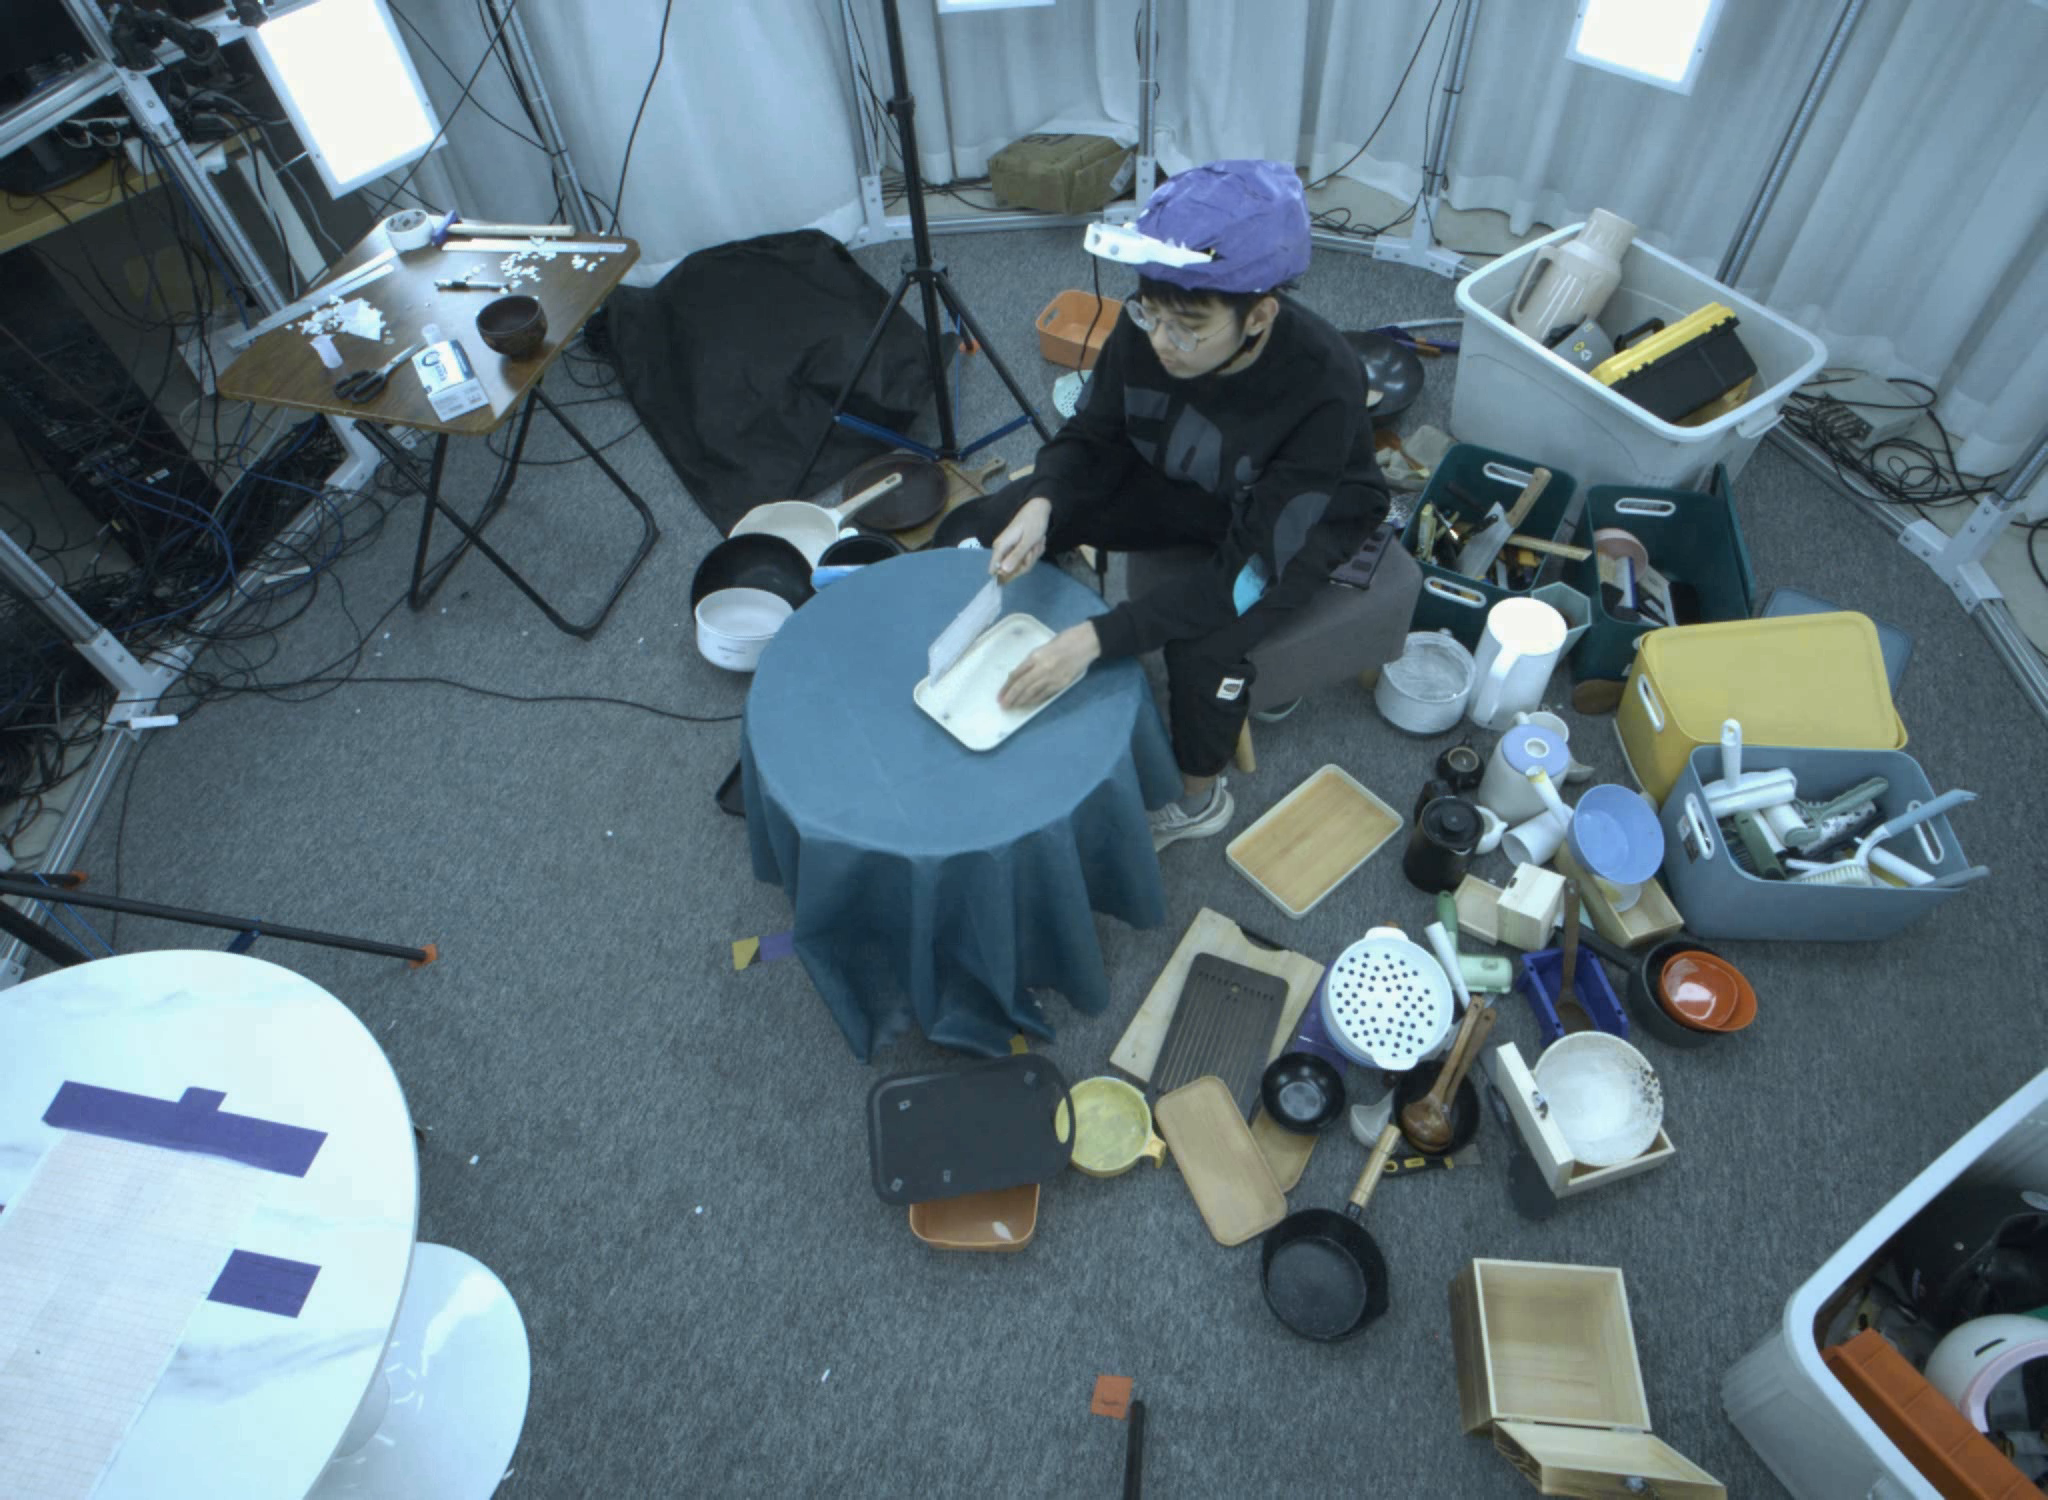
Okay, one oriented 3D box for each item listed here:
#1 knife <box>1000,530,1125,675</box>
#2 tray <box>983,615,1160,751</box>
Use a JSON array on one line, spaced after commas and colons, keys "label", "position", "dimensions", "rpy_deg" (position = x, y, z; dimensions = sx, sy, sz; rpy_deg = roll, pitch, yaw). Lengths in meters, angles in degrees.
[{"label": "knife", "position": [0.057, -0.218, 1.839], "dimensions": [0.021, 0.093, 0.307], "rpy_deg": [31, 58, 19]}, {"label": "tray", "position": [0.072, -0.102, 1.844], "dimensions": [0.241, 0.018, 0.168], "rpy_deg": [-34, 59, -20]}]
